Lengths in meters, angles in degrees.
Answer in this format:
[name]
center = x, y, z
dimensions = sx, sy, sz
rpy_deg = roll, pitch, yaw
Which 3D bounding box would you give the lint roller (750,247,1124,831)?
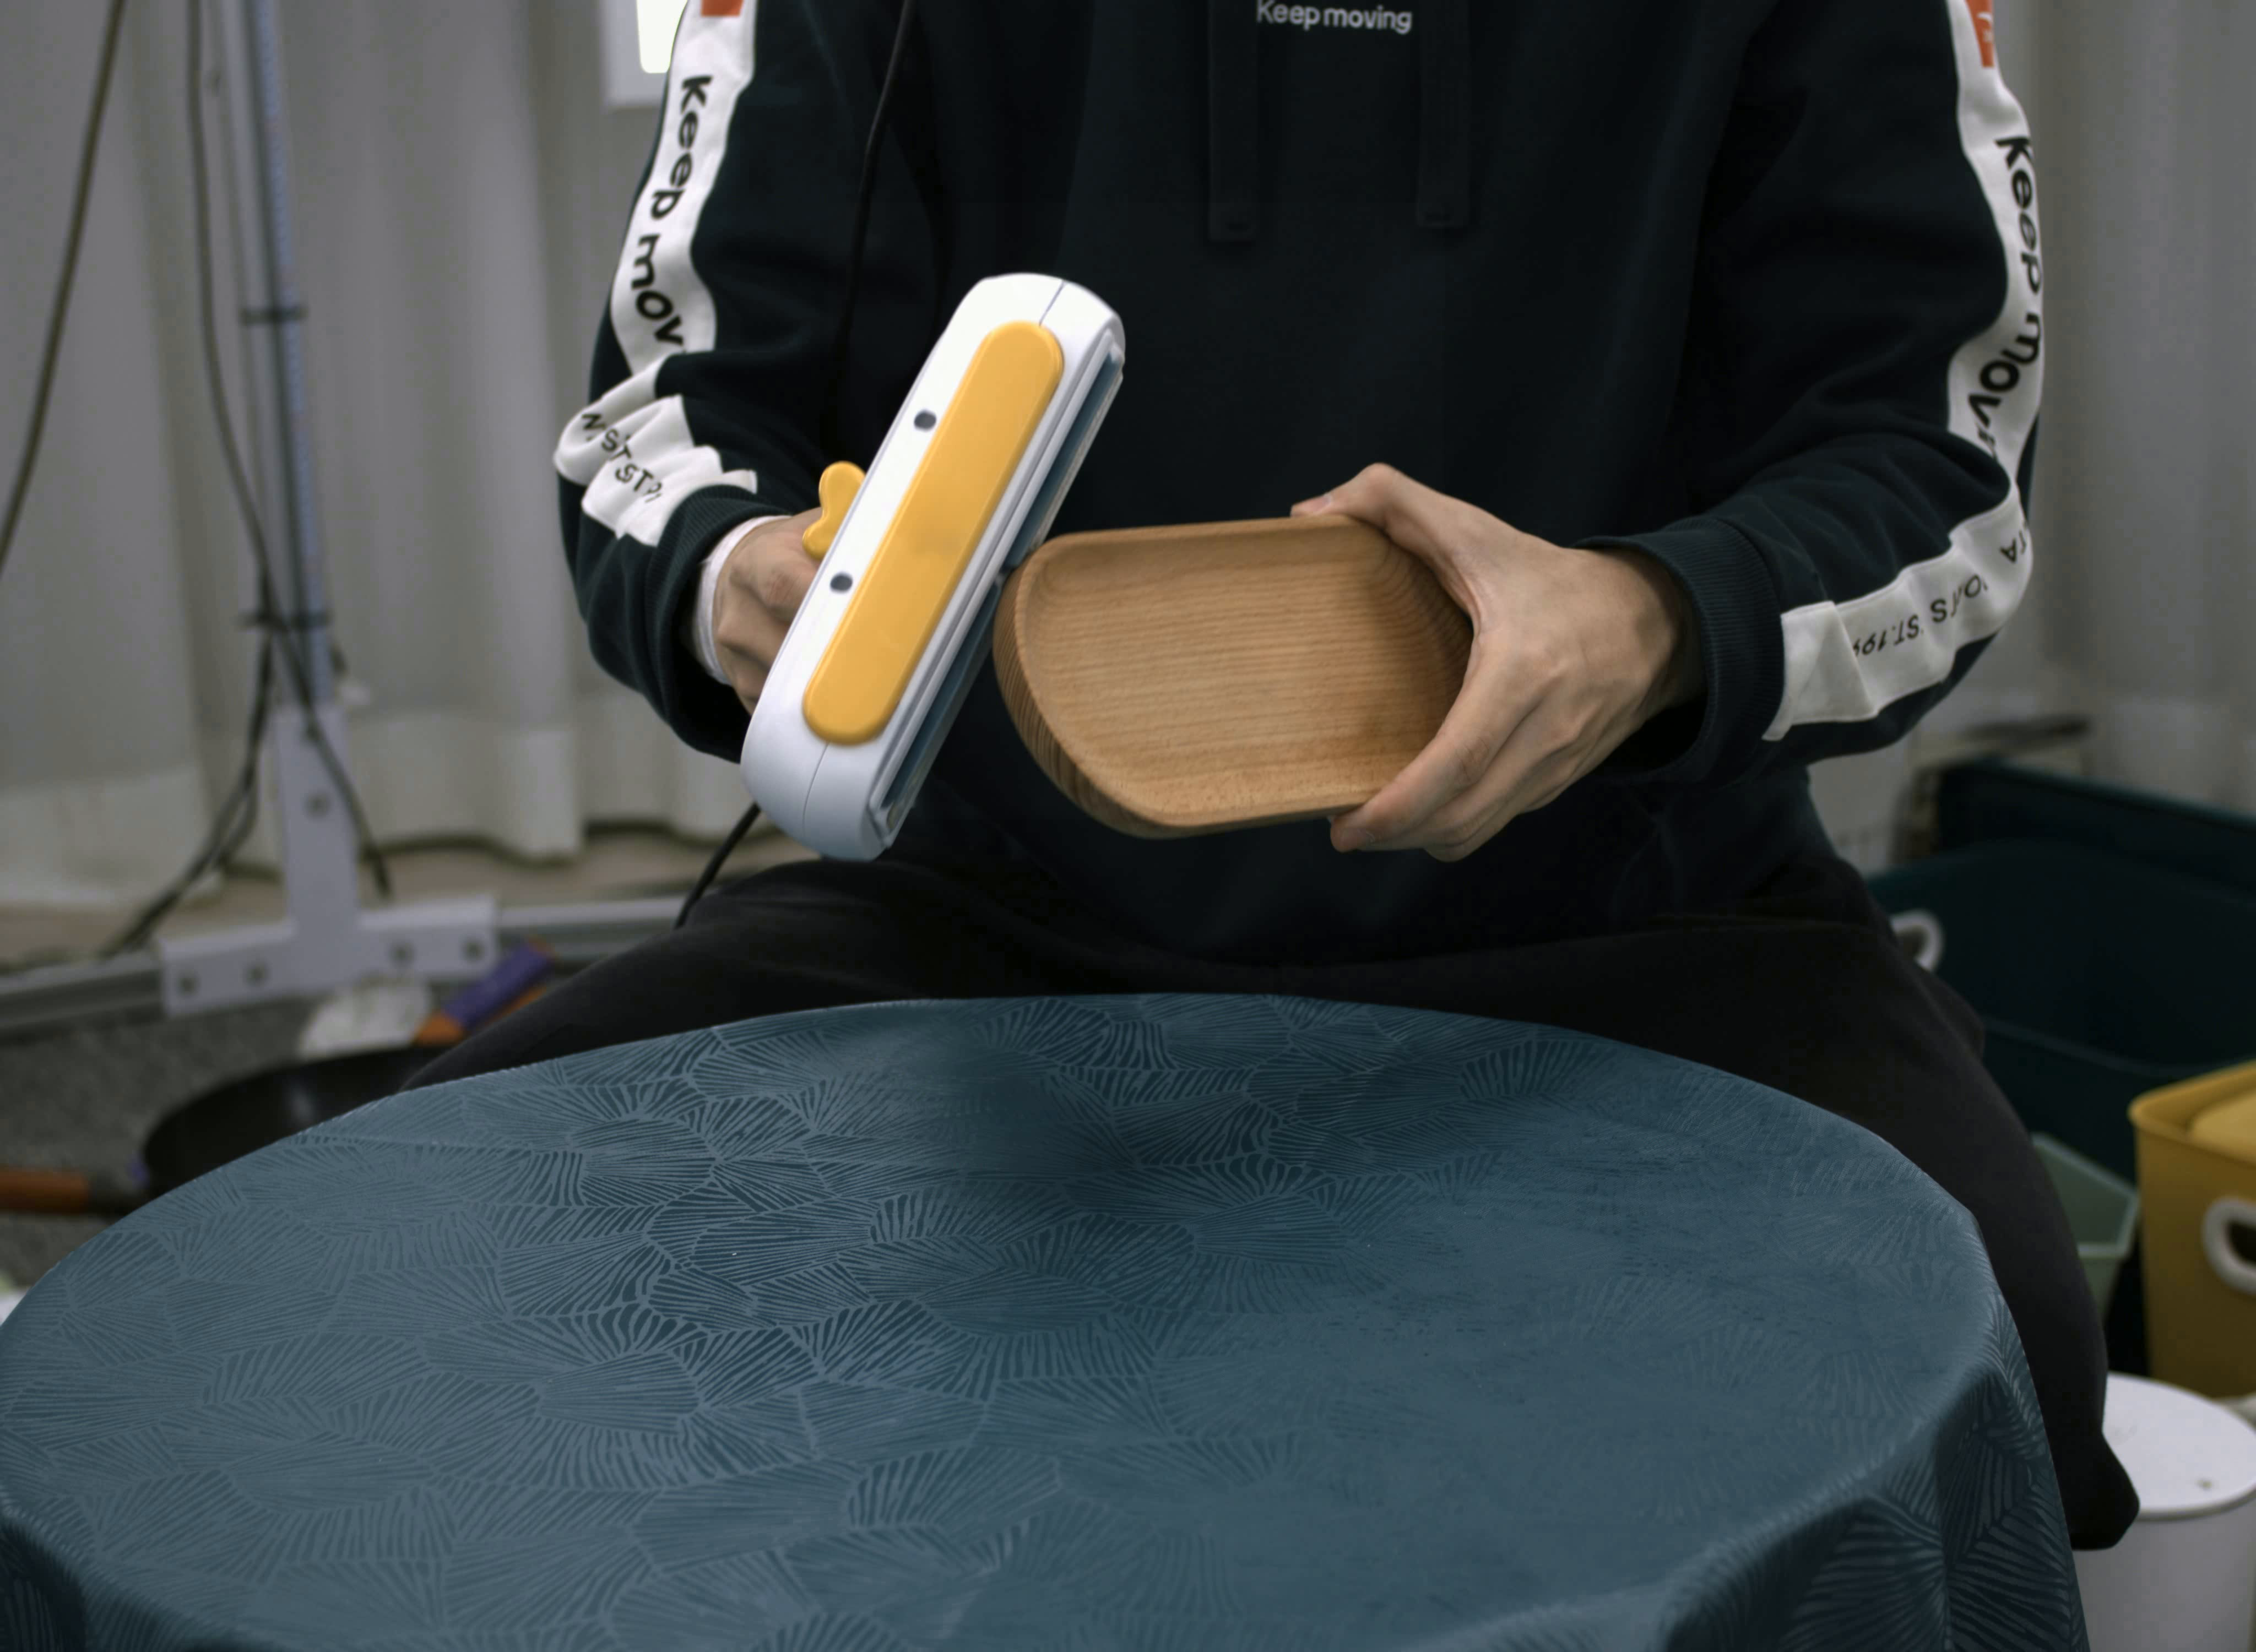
[lint roller]
center = -0.068, -0.074, 1.738
dimensions = 0.074, 0.194, 0.191
rpy_deg = 21, -18, 2

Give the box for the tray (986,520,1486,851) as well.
[tray]
center = 0.036, -0.045, 1.724
dimensions = 0.020, 0.102, 0.230
rpy_deg = -34, -16, 37
